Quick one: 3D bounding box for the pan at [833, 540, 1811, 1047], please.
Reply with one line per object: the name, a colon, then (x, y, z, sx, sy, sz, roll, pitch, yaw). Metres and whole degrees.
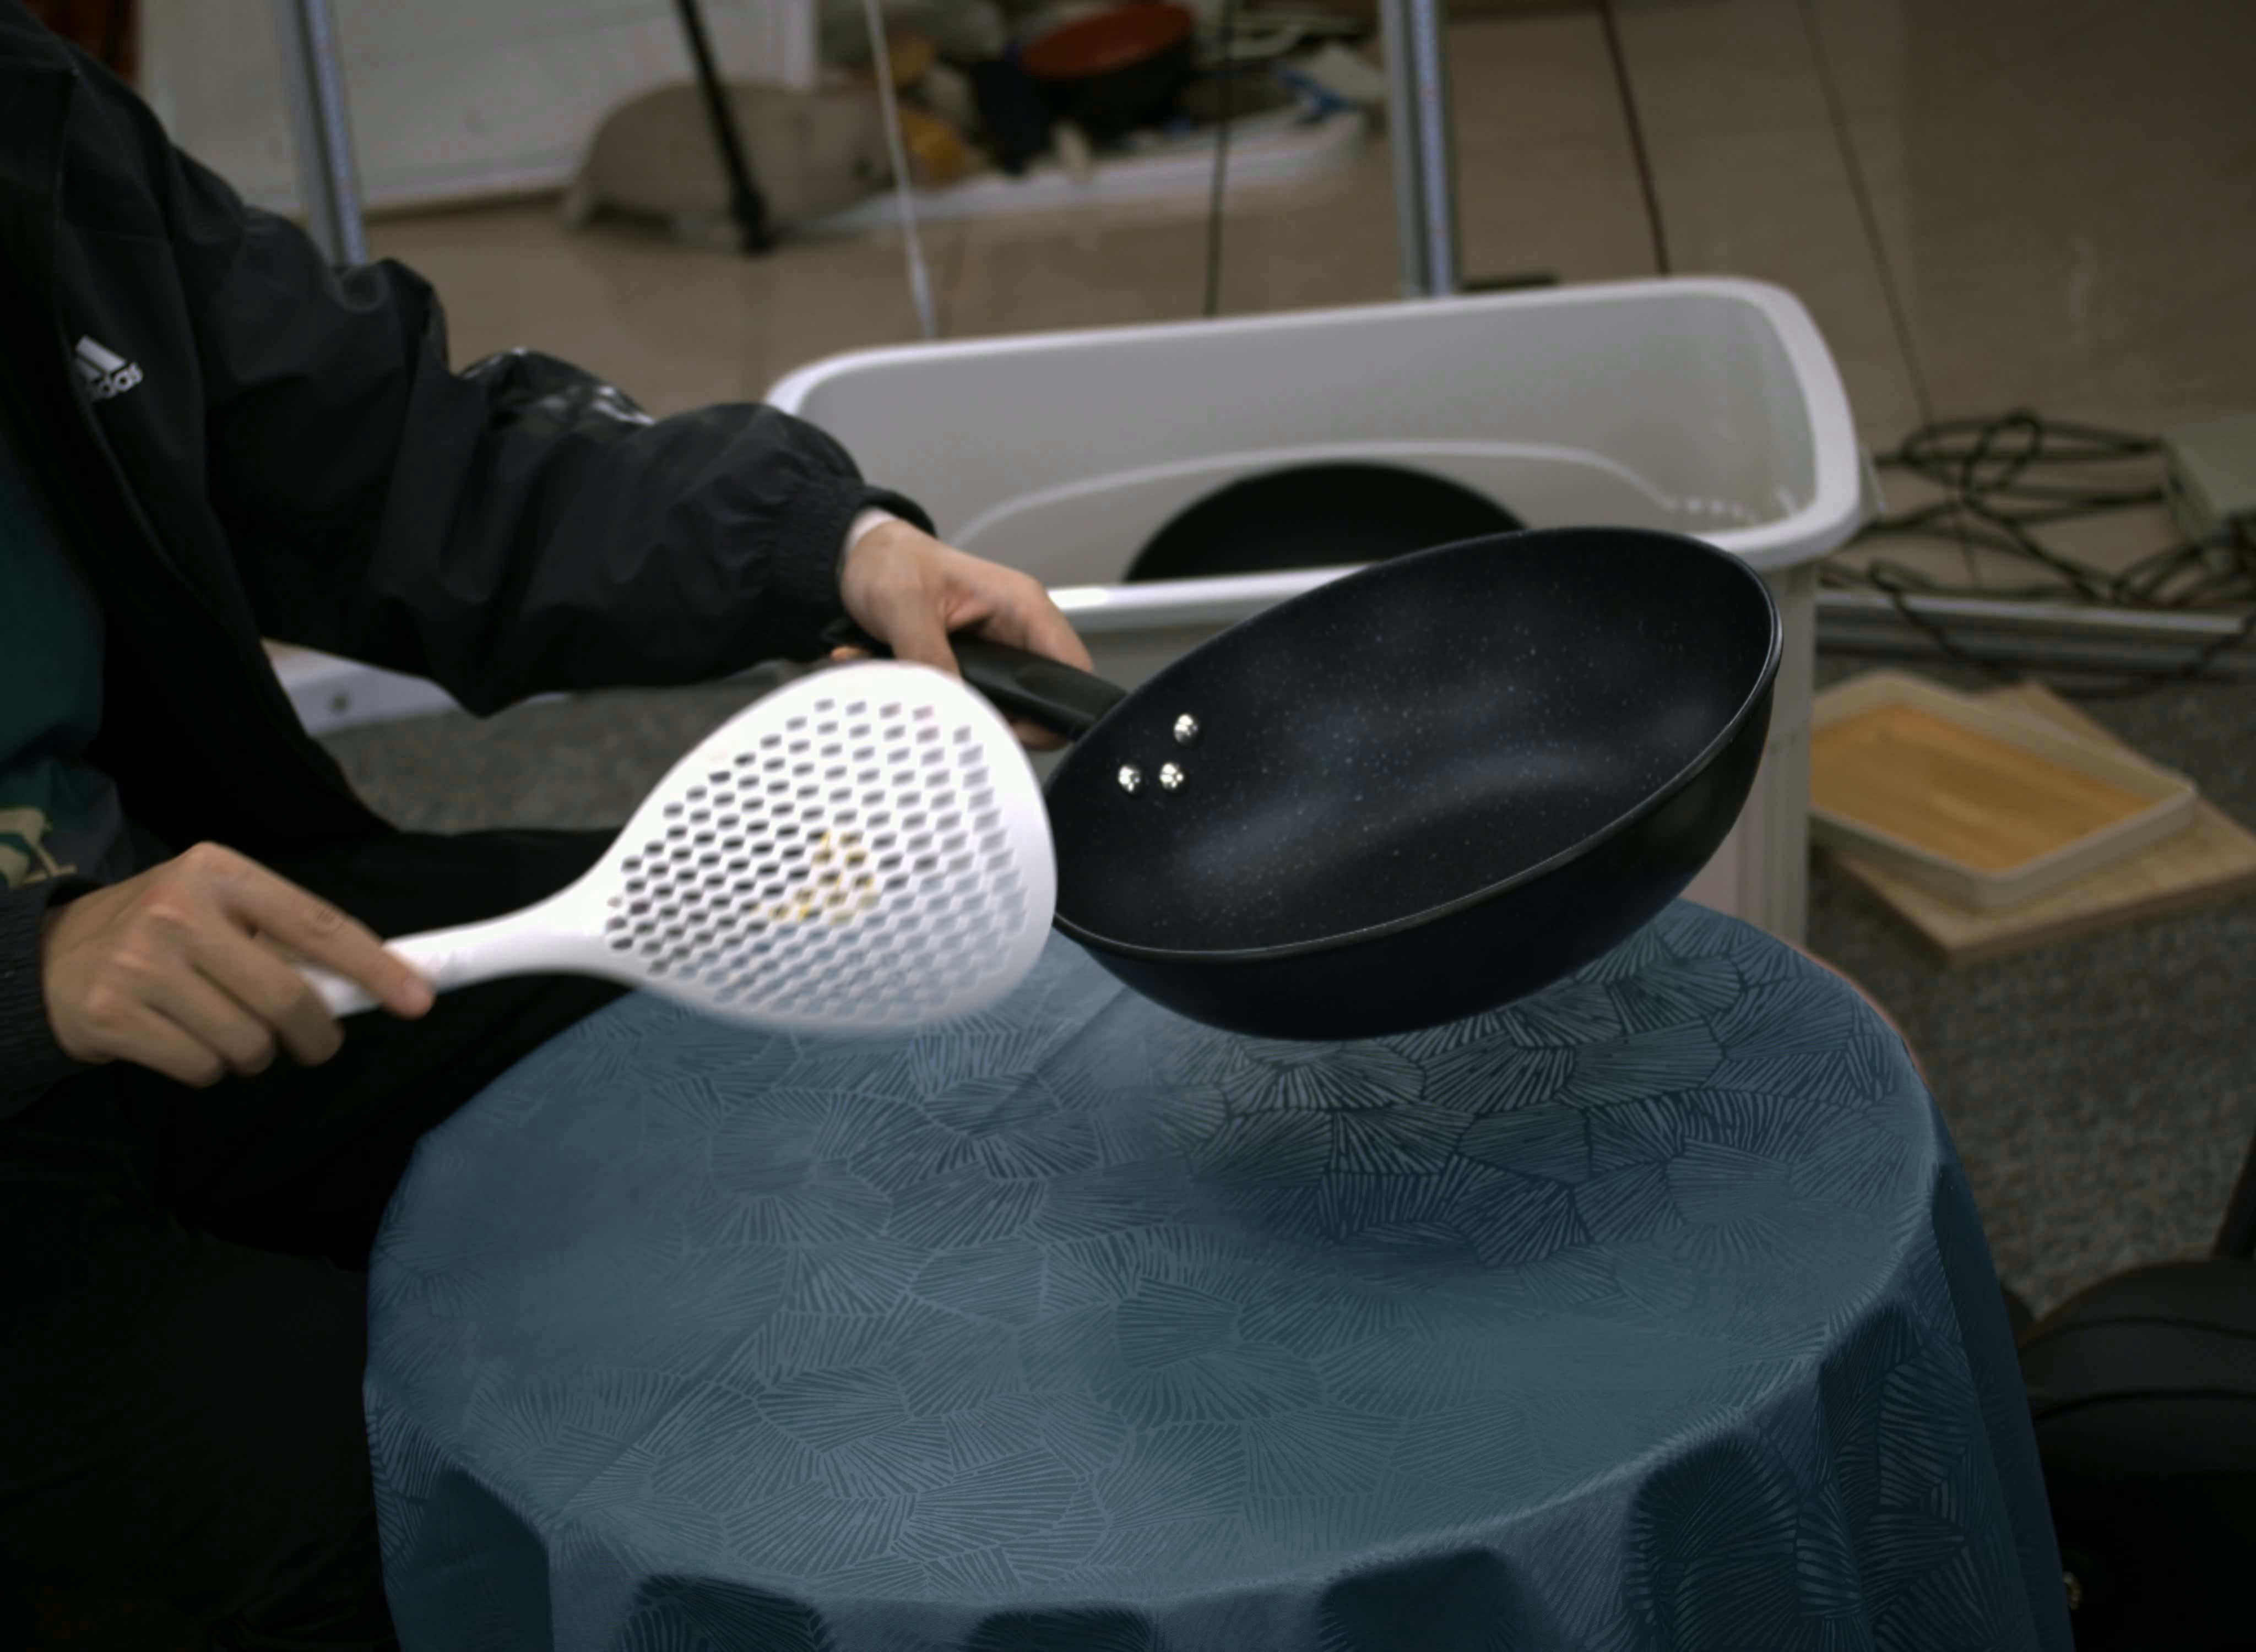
pan: (0.061, -0.017, 2.243, 0.475, 0.113, 0.307, 8, 37, 45)

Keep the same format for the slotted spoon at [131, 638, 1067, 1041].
slotted spoon: (-0.194, 0.032, 2.054, 0.348, 0.138, 0.050, -14, 15, 13)
